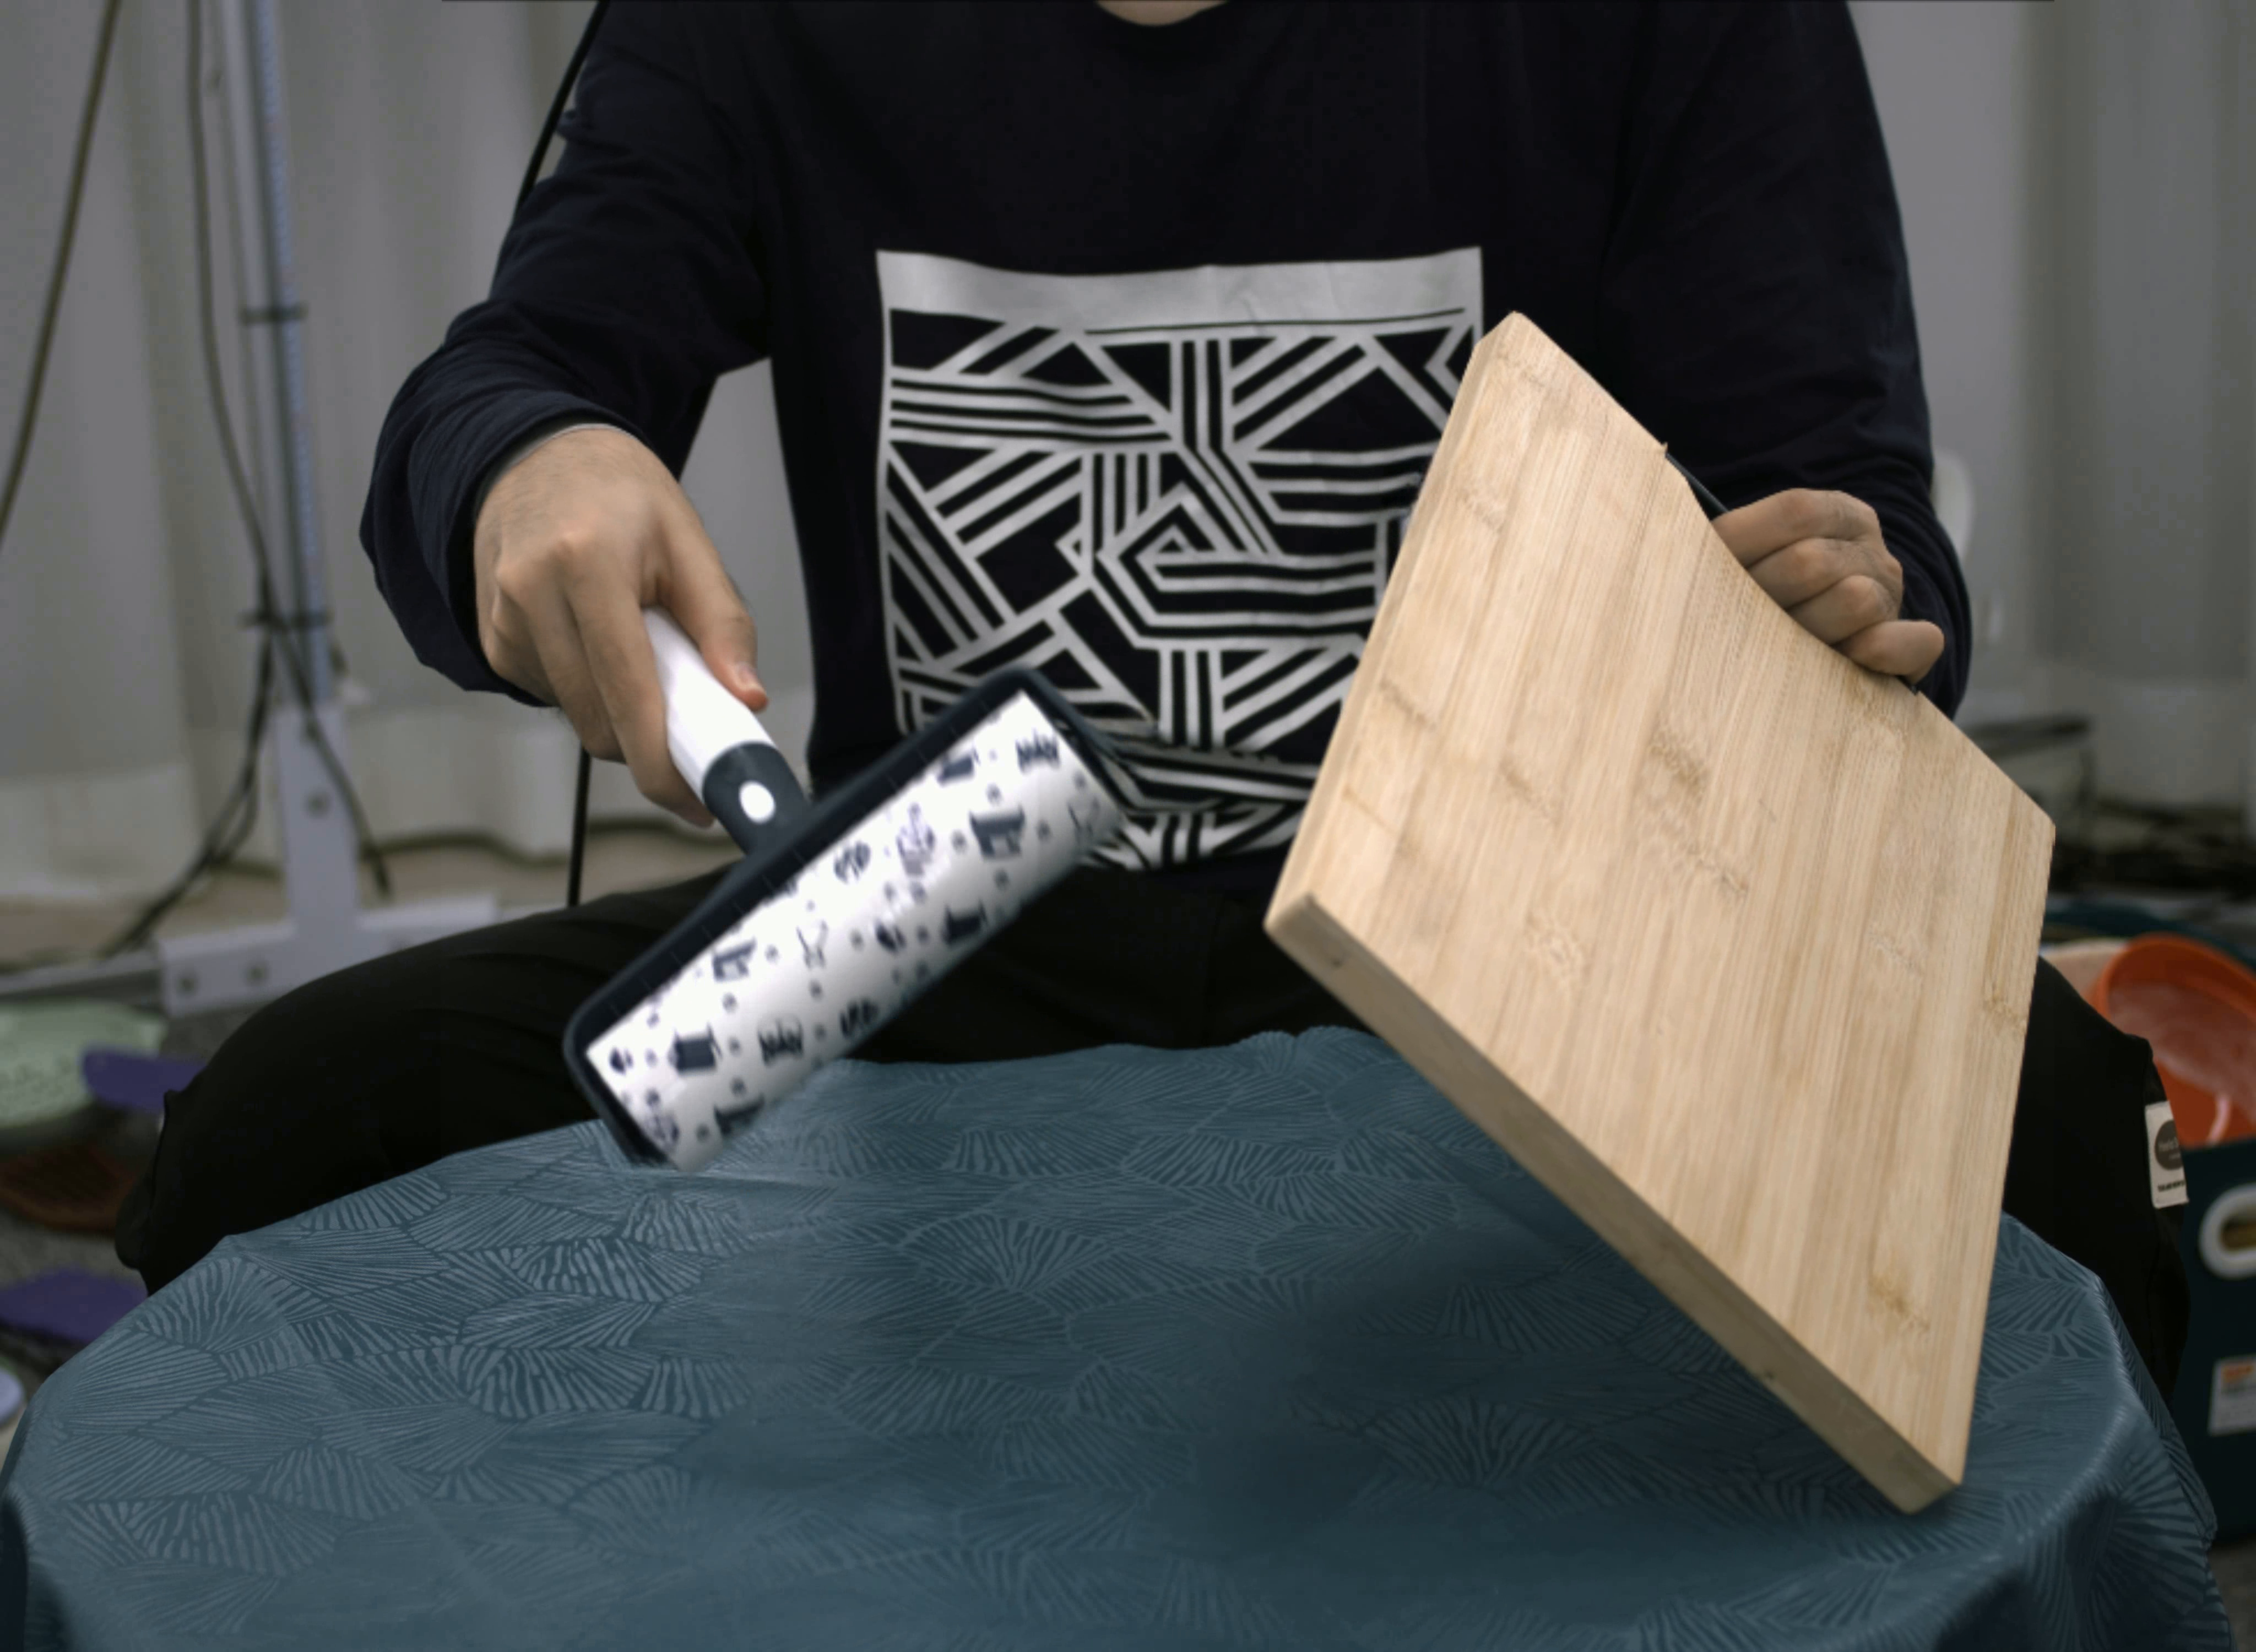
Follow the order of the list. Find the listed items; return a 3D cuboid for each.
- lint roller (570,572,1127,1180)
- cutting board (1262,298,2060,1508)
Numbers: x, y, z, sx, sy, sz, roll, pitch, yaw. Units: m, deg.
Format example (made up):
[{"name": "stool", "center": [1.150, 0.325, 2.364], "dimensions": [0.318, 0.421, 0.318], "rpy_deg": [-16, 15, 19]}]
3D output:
[{"name": "lint roller", "center": [-0.117, -0.016, 1.620], "dimensions": [0.176, 0.050, 0.250], "rpy_deg": [-40, 39, -1]}, {"name": "cutting board", "center": [0.162, 0.009, 1.548], "dimensions": [0.023, 0.249, 0.352], "rpy_deg": [-40, 15, 30]}]
